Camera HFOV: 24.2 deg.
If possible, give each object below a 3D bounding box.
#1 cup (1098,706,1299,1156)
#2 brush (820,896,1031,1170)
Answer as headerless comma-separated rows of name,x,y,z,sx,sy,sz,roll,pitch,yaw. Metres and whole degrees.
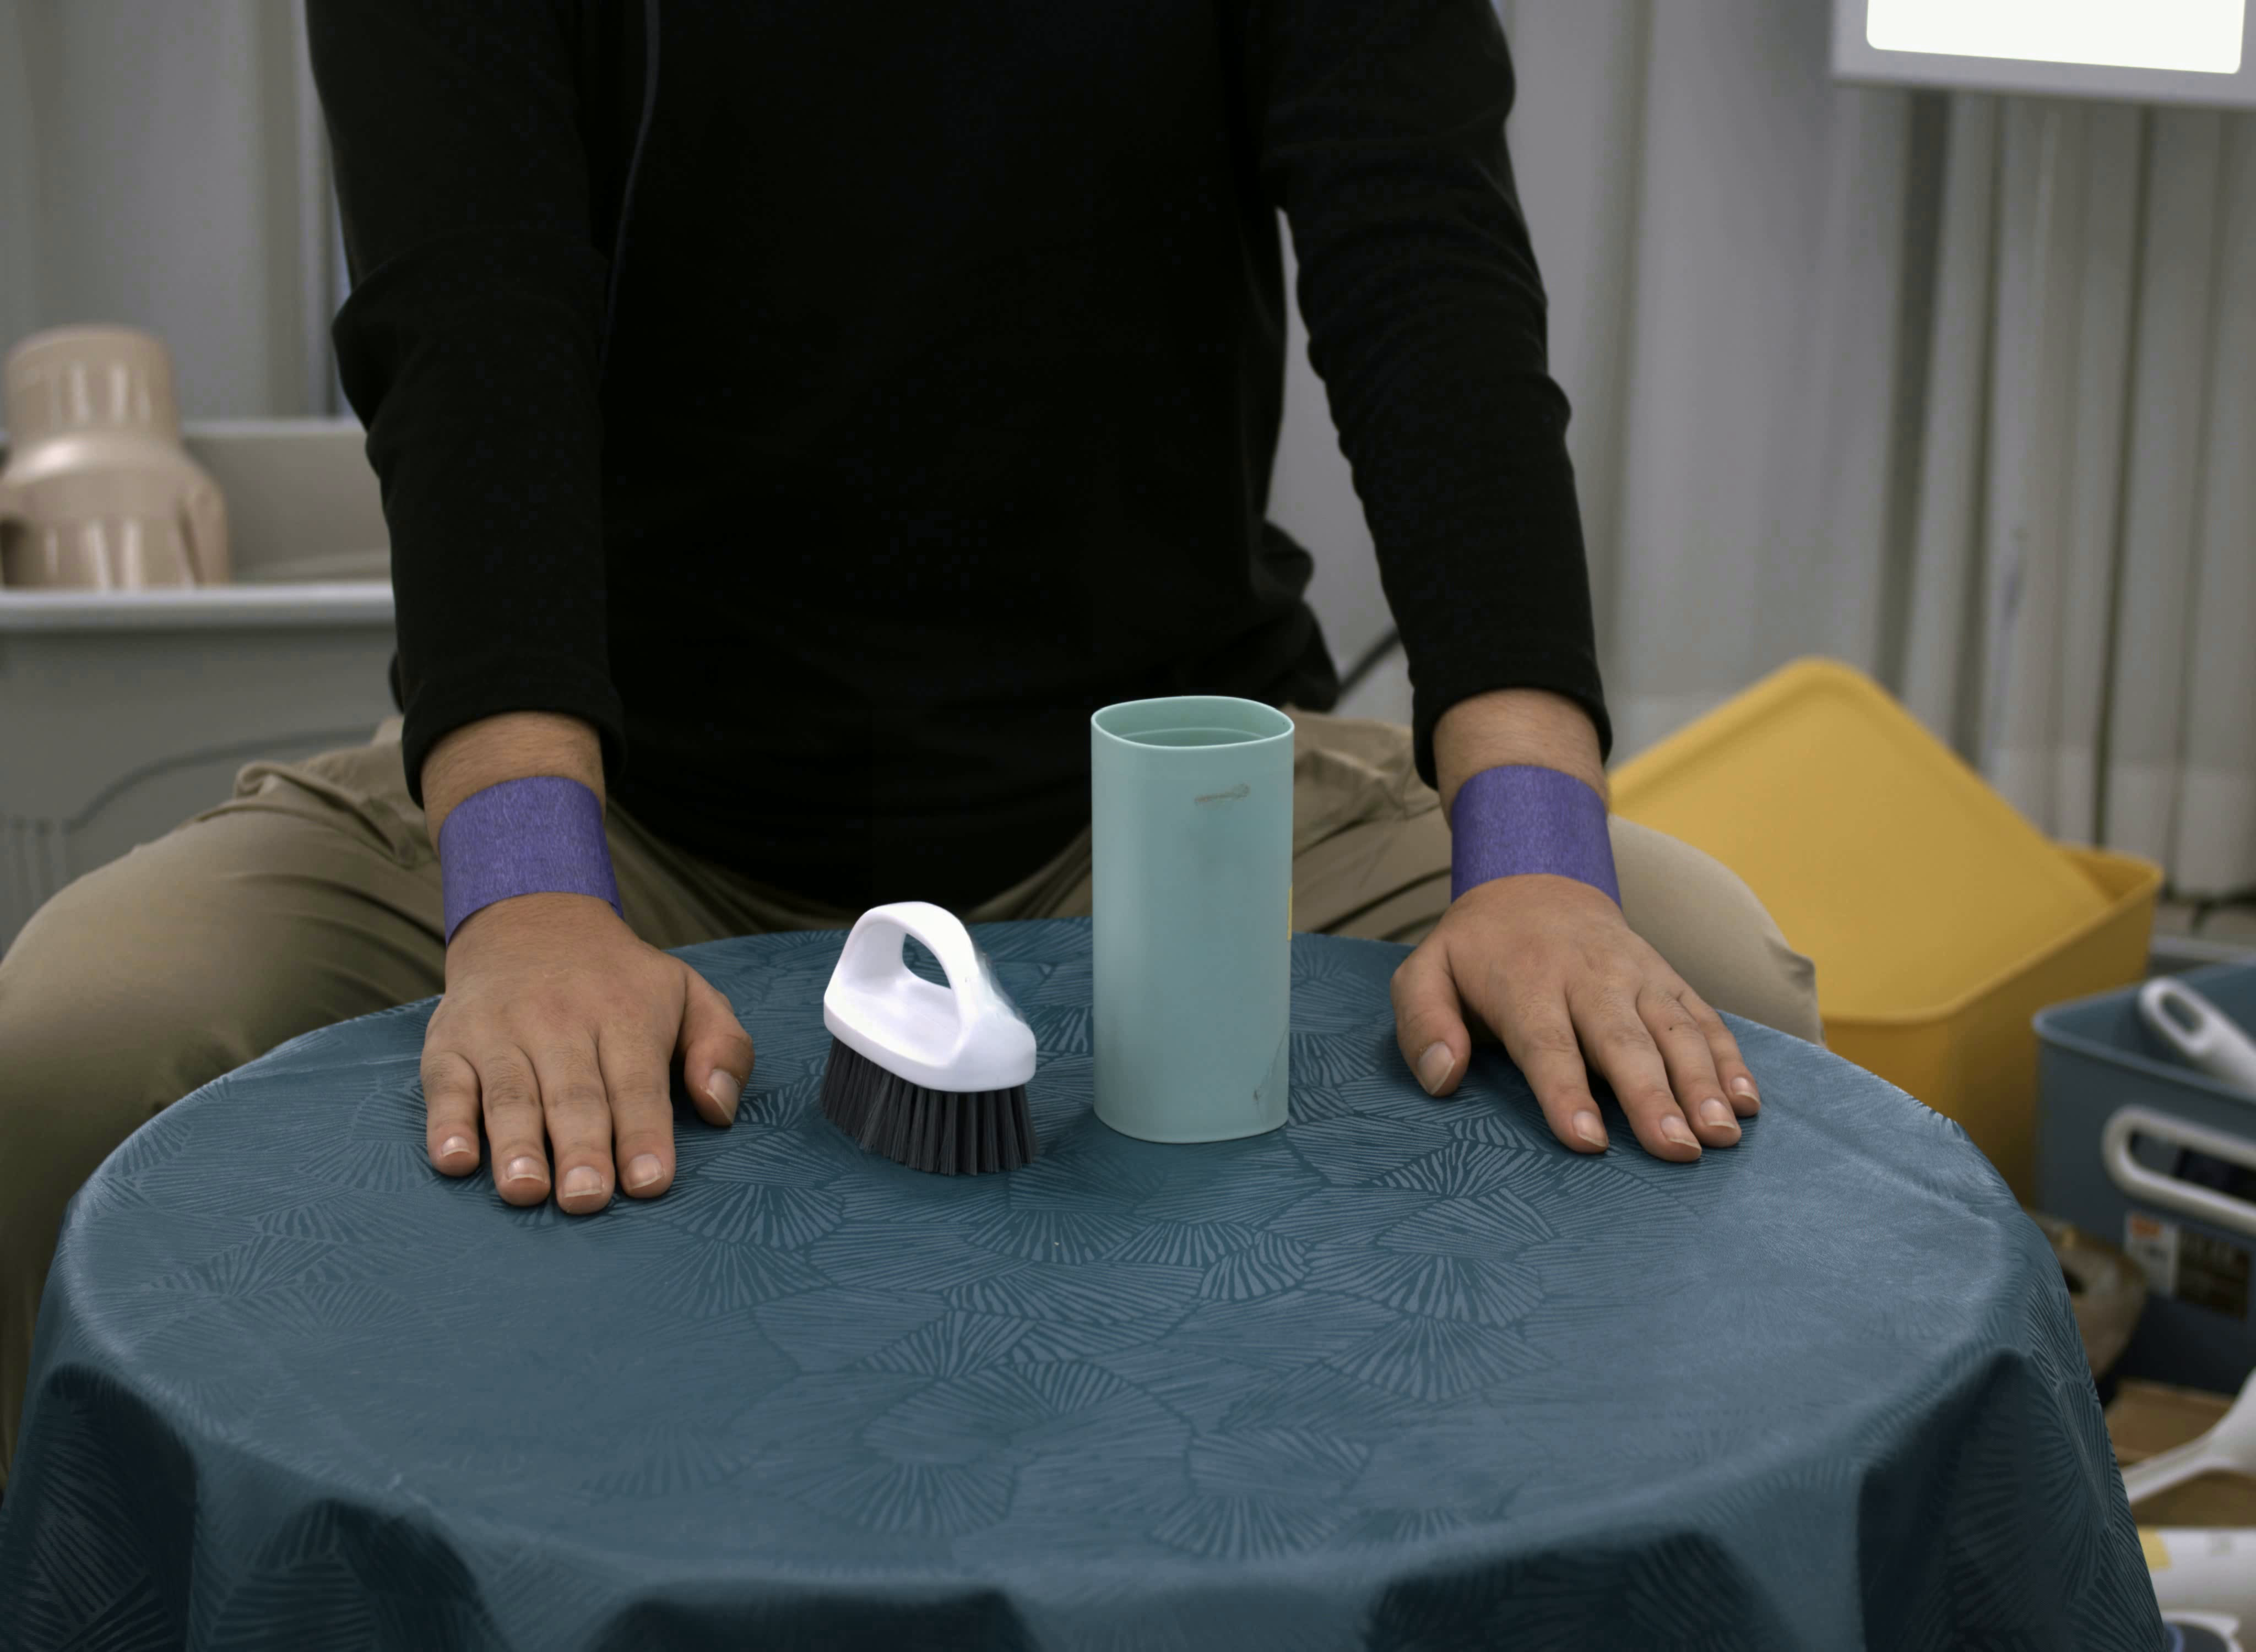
cup,0.020,0.033,1.678,0.066,0.133,0.066,0,17,0
brush,-0.065,0.060,1.667,0.050,0.073,0.098,-6,18,-26
